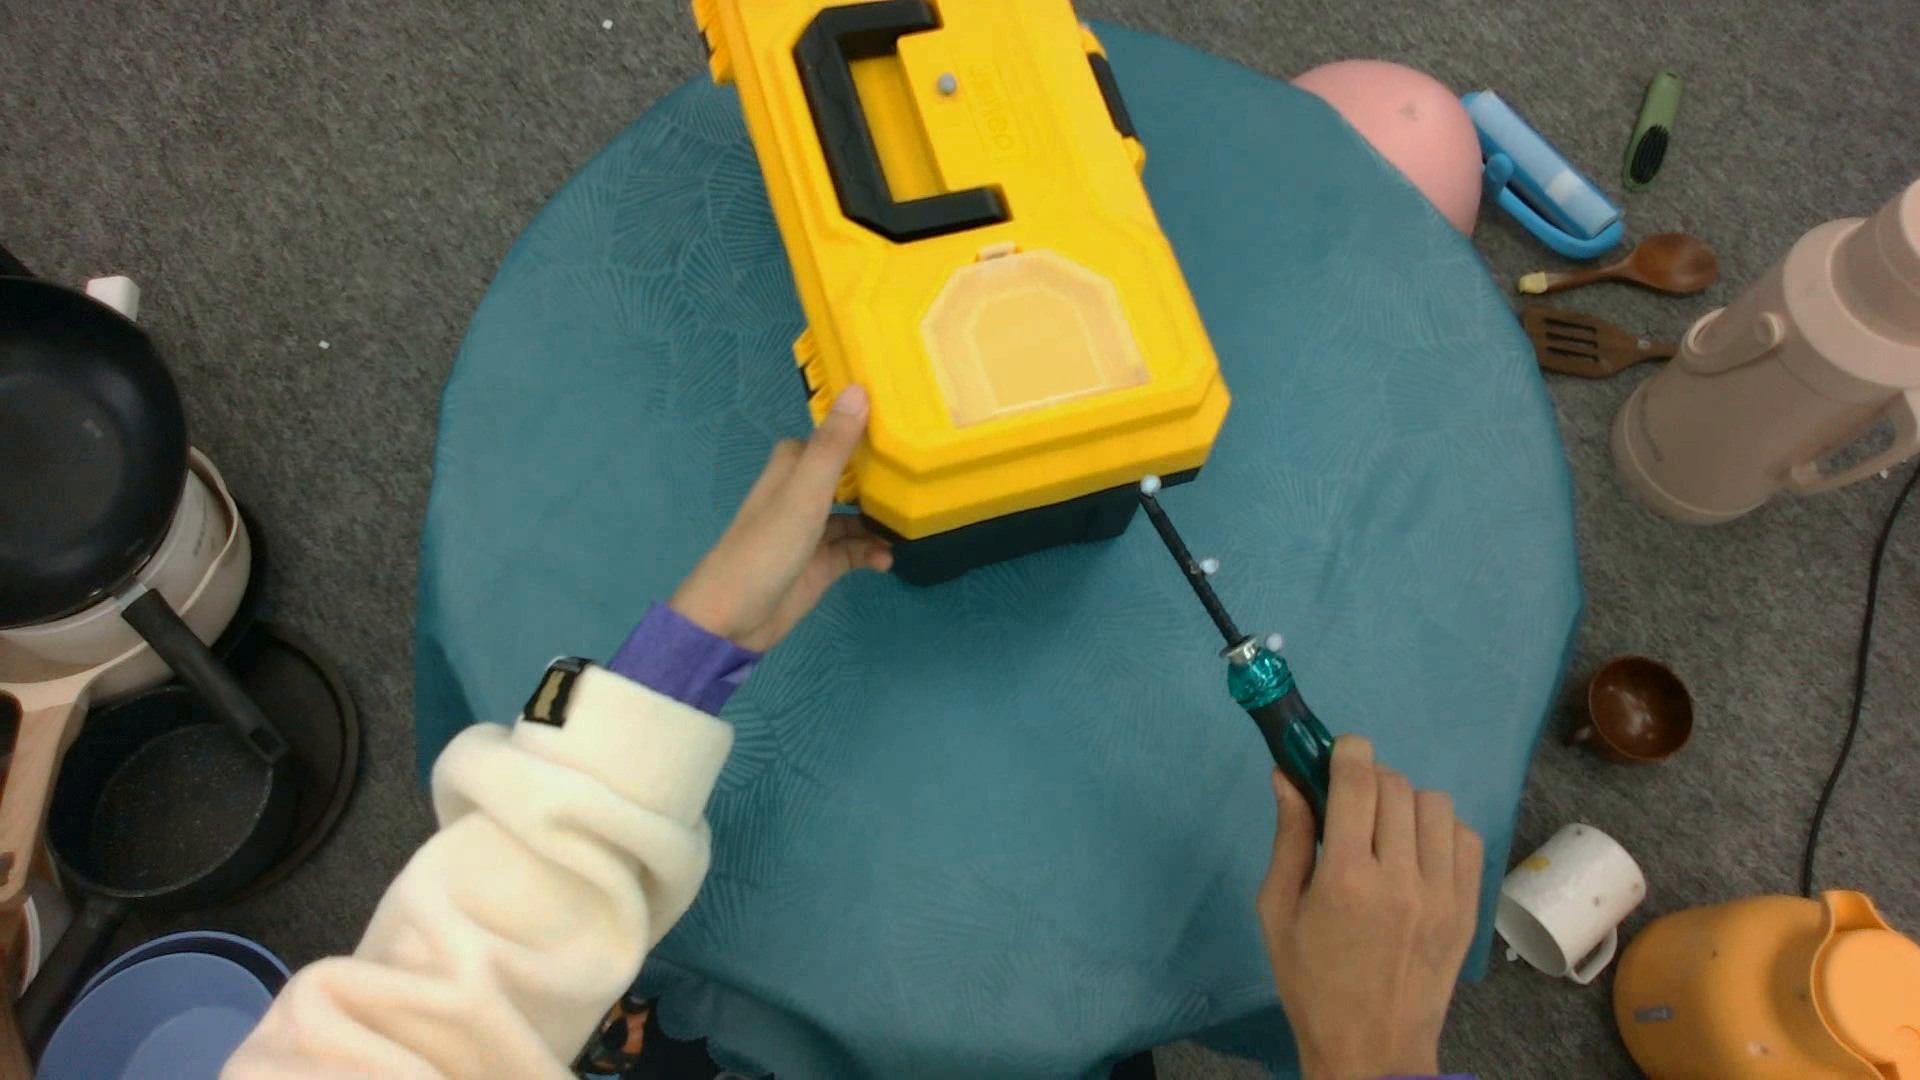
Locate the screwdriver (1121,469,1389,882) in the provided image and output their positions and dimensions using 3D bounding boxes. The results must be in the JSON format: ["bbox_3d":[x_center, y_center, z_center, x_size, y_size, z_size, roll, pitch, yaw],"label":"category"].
[{"bbox_3d":[0.116,0.052,0.560,0.034,0.033,0.190,-32,90,-15],"label":"screwdriver"}]

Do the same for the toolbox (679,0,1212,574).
[{"bbox_3d":[-0.020,-0.167,0.678,0.181,0.172,0.352,-14,70,-9],"label":"toolbox"}]
